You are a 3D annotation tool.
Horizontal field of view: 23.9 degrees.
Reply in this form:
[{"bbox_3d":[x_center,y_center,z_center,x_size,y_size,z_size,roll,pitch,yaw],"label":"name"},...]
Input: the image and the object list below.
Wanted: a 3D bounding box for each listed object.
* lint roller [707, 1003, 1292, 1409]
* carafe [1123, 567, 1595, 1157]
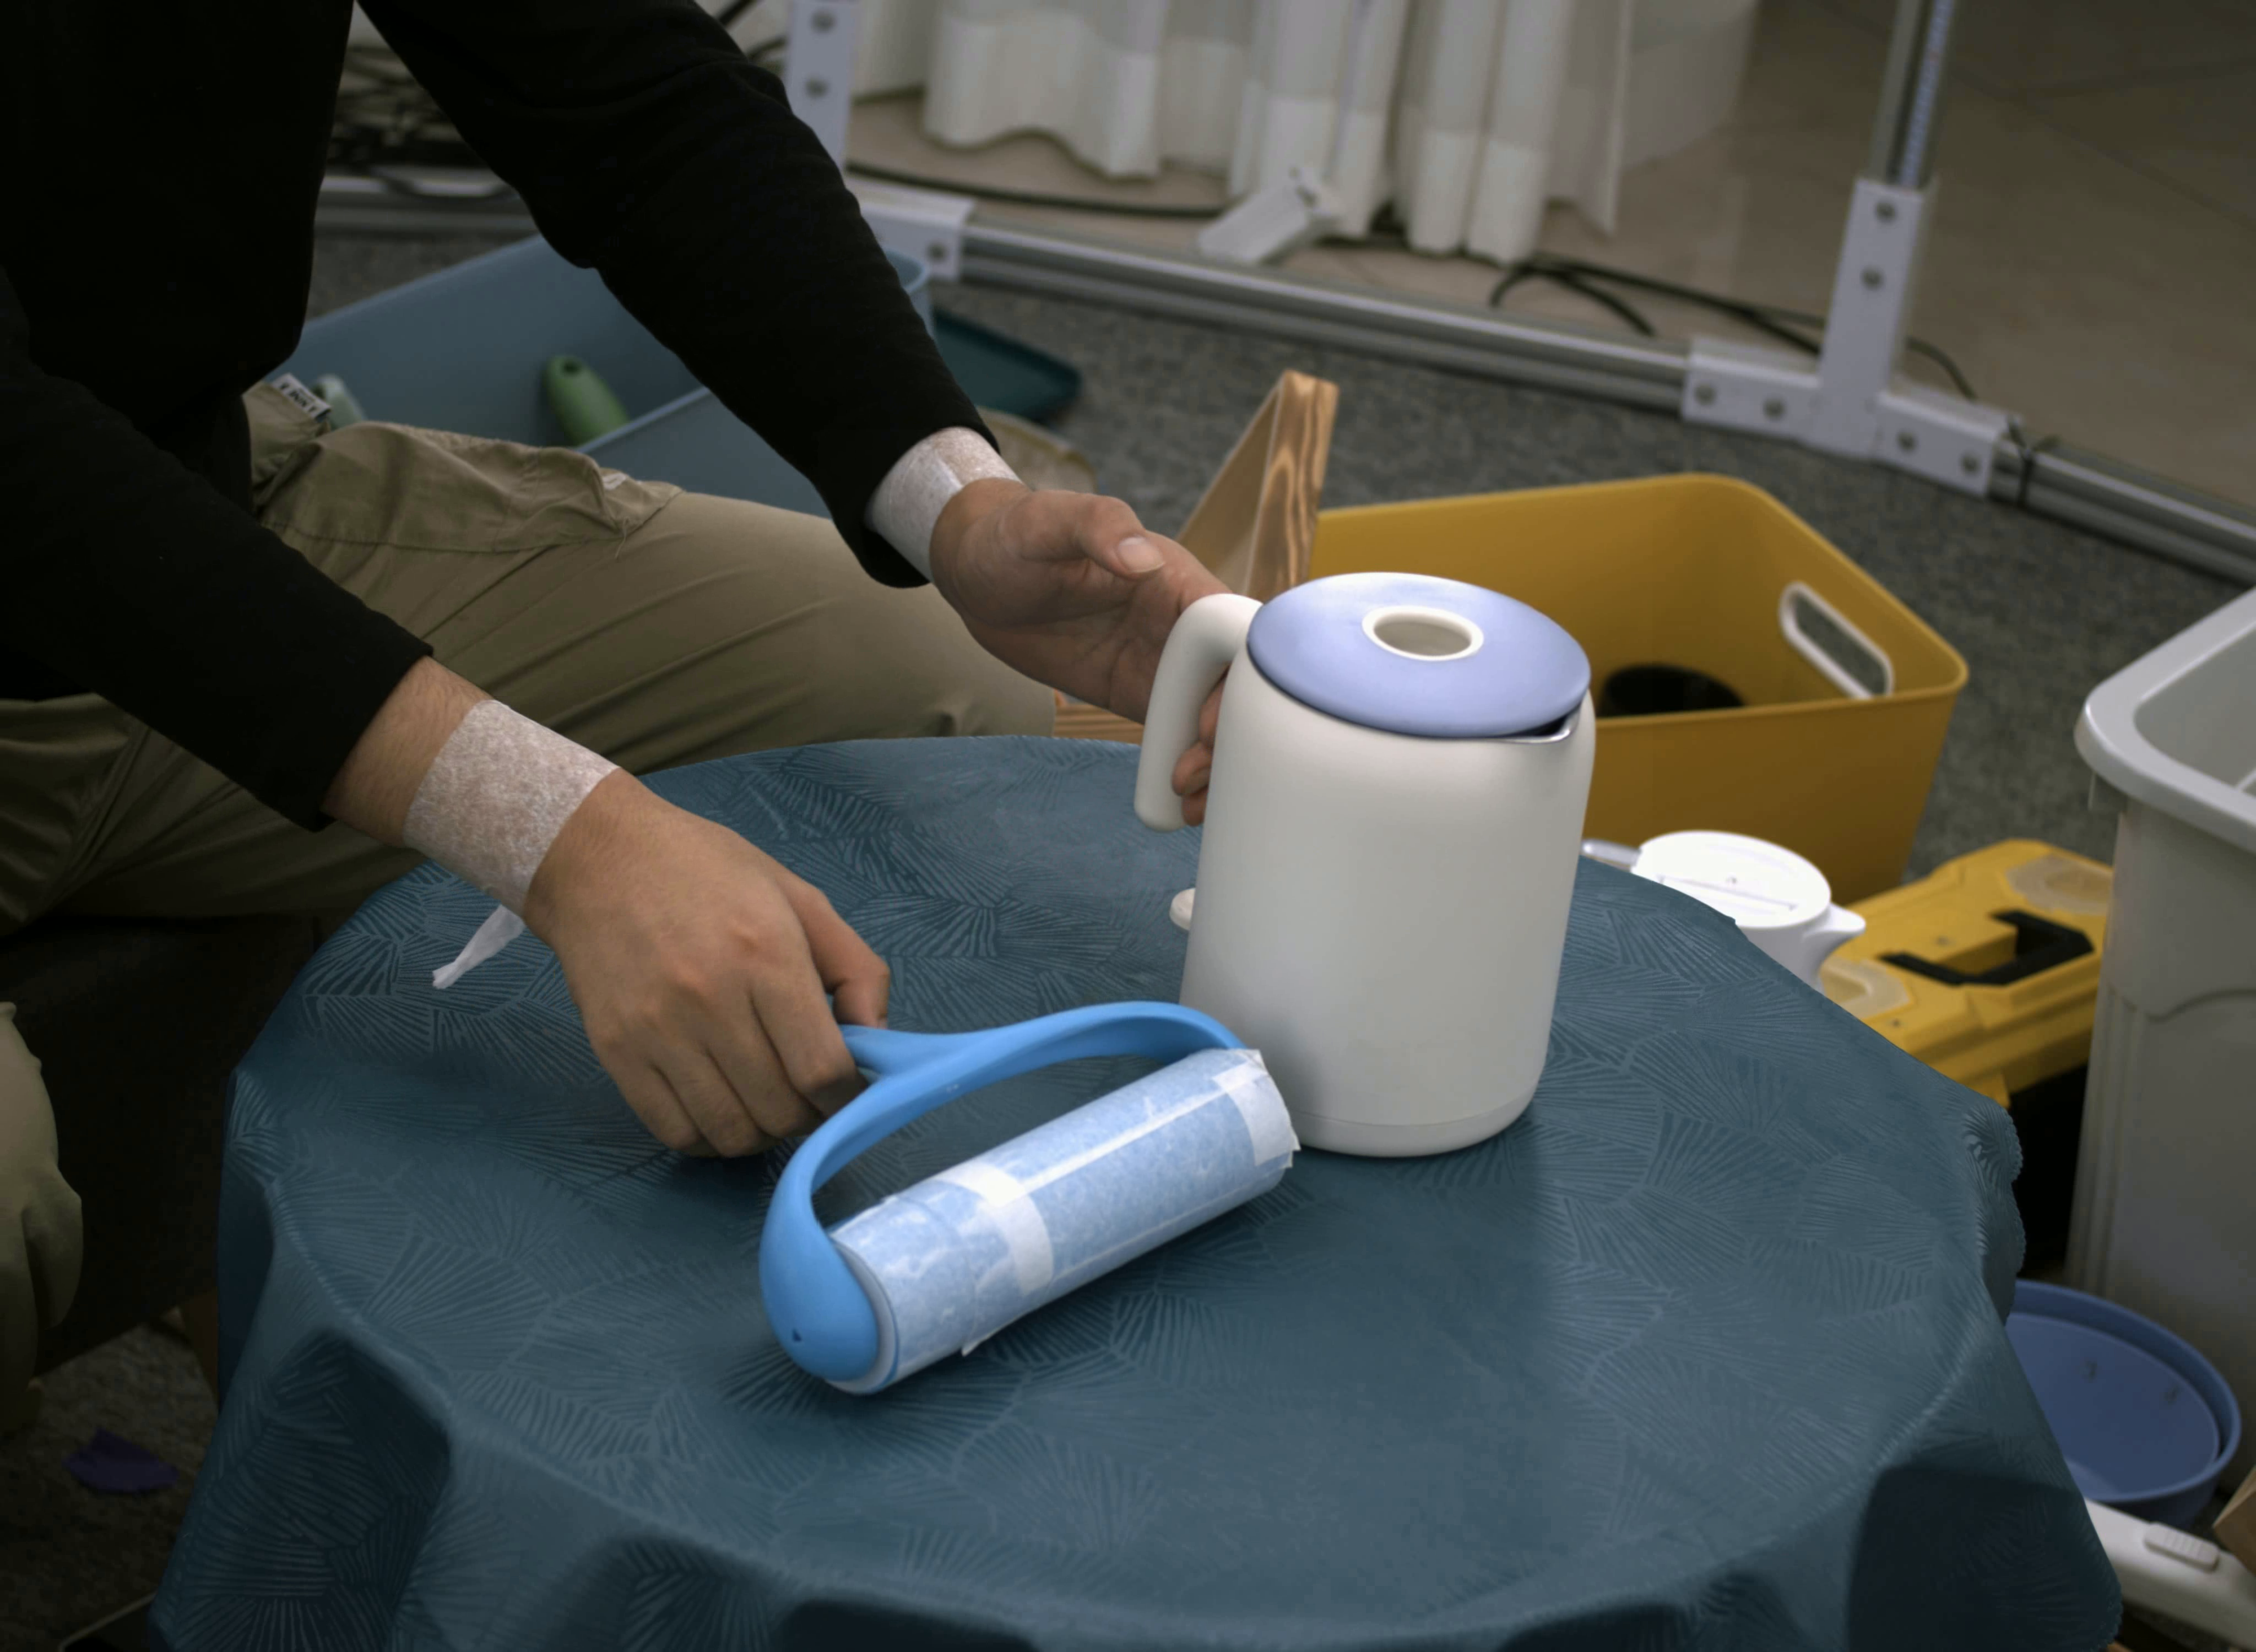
[{"bbox_3d":[-0.072,0.101,1.763,0.181,0.067,0.228,32,39,29],"label":"lint roller"},{"bbox_3d":[0.073,0.003,1.866,0.192,0.182,0.131,26,32,38],"label":"carafe"}]
